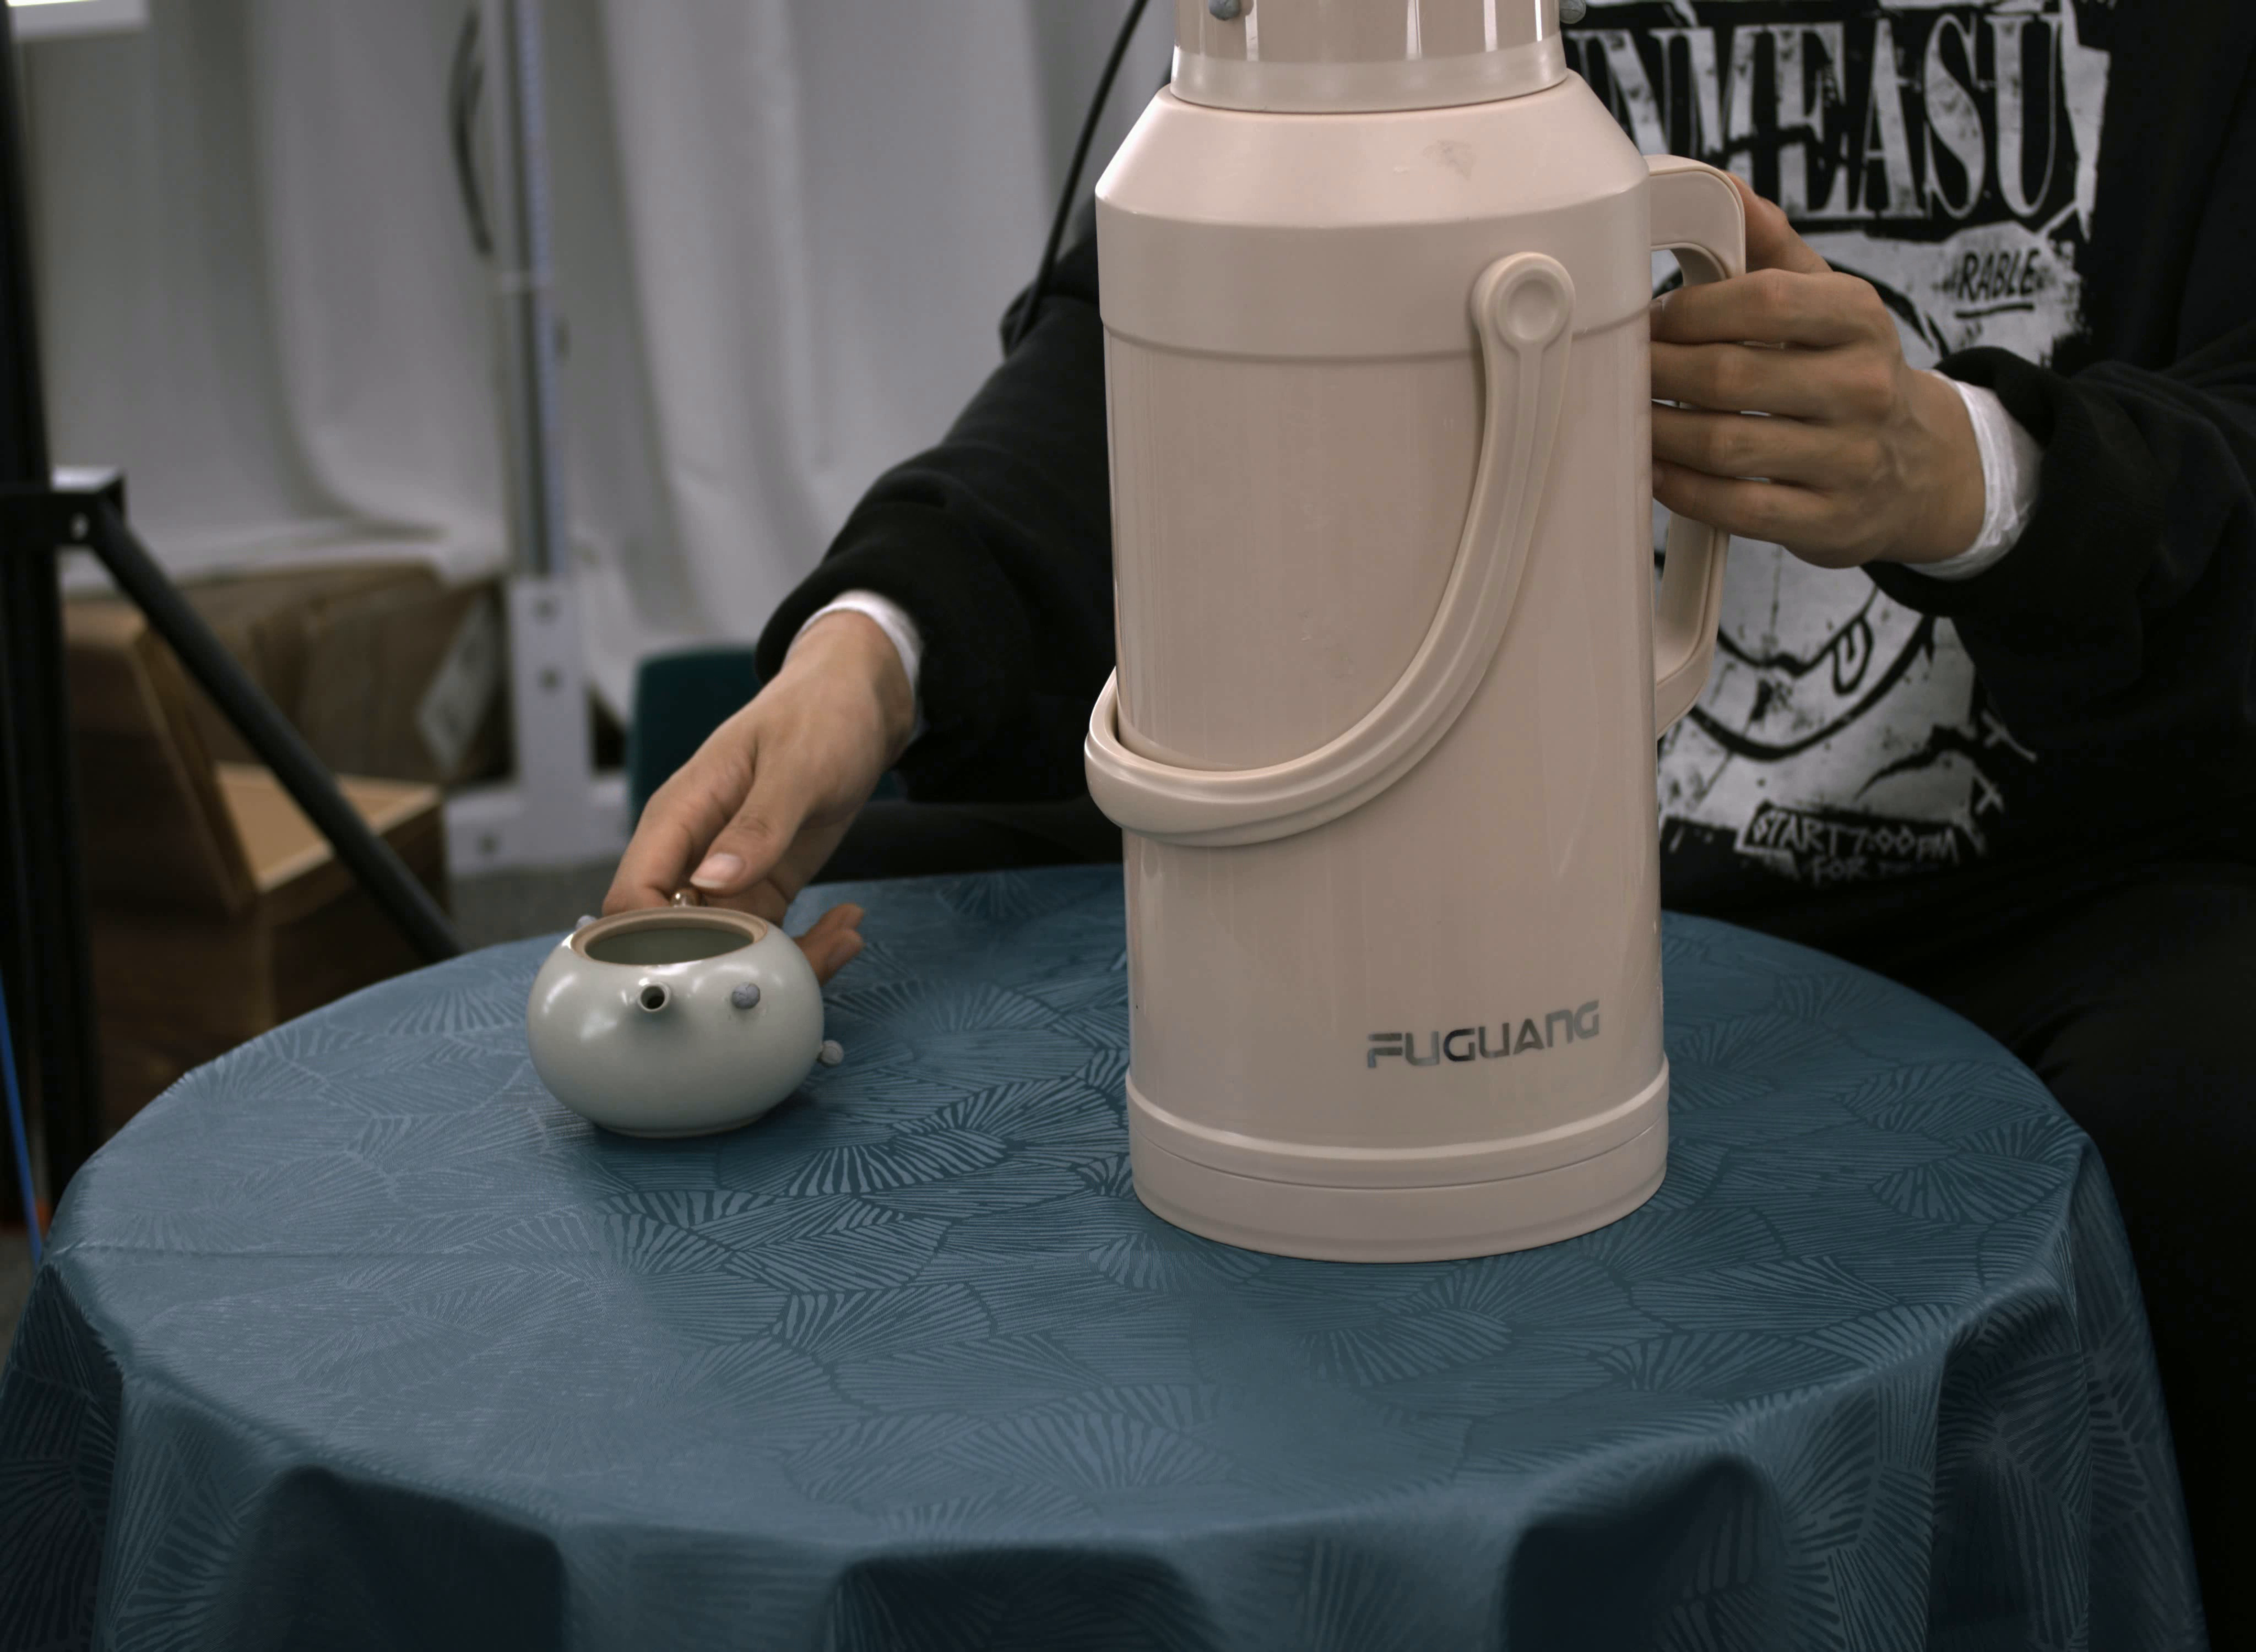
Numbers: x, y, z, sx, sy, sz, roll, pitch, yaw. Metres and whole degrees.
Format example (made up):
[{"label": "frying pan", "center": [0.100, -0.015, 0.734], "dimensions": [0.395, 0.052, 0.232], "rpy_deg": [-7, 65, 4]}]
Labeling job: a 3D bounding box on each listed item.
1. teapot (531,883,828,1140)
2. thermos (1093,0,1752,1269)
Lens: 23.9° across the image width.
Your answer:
[{"label": "teapot", "center": [-0.138, 0.057, 1.650], "dimensions": [0.091, 0.059, 0.128], "rpy_deg": [-6, 17, 1]}, {"label": "thermos", "center": [0.087, -0.090, 1.515], "dimensions": [0.203, 0.406, 0.179], "rpy_deg": [-10, 15, -25]}]
